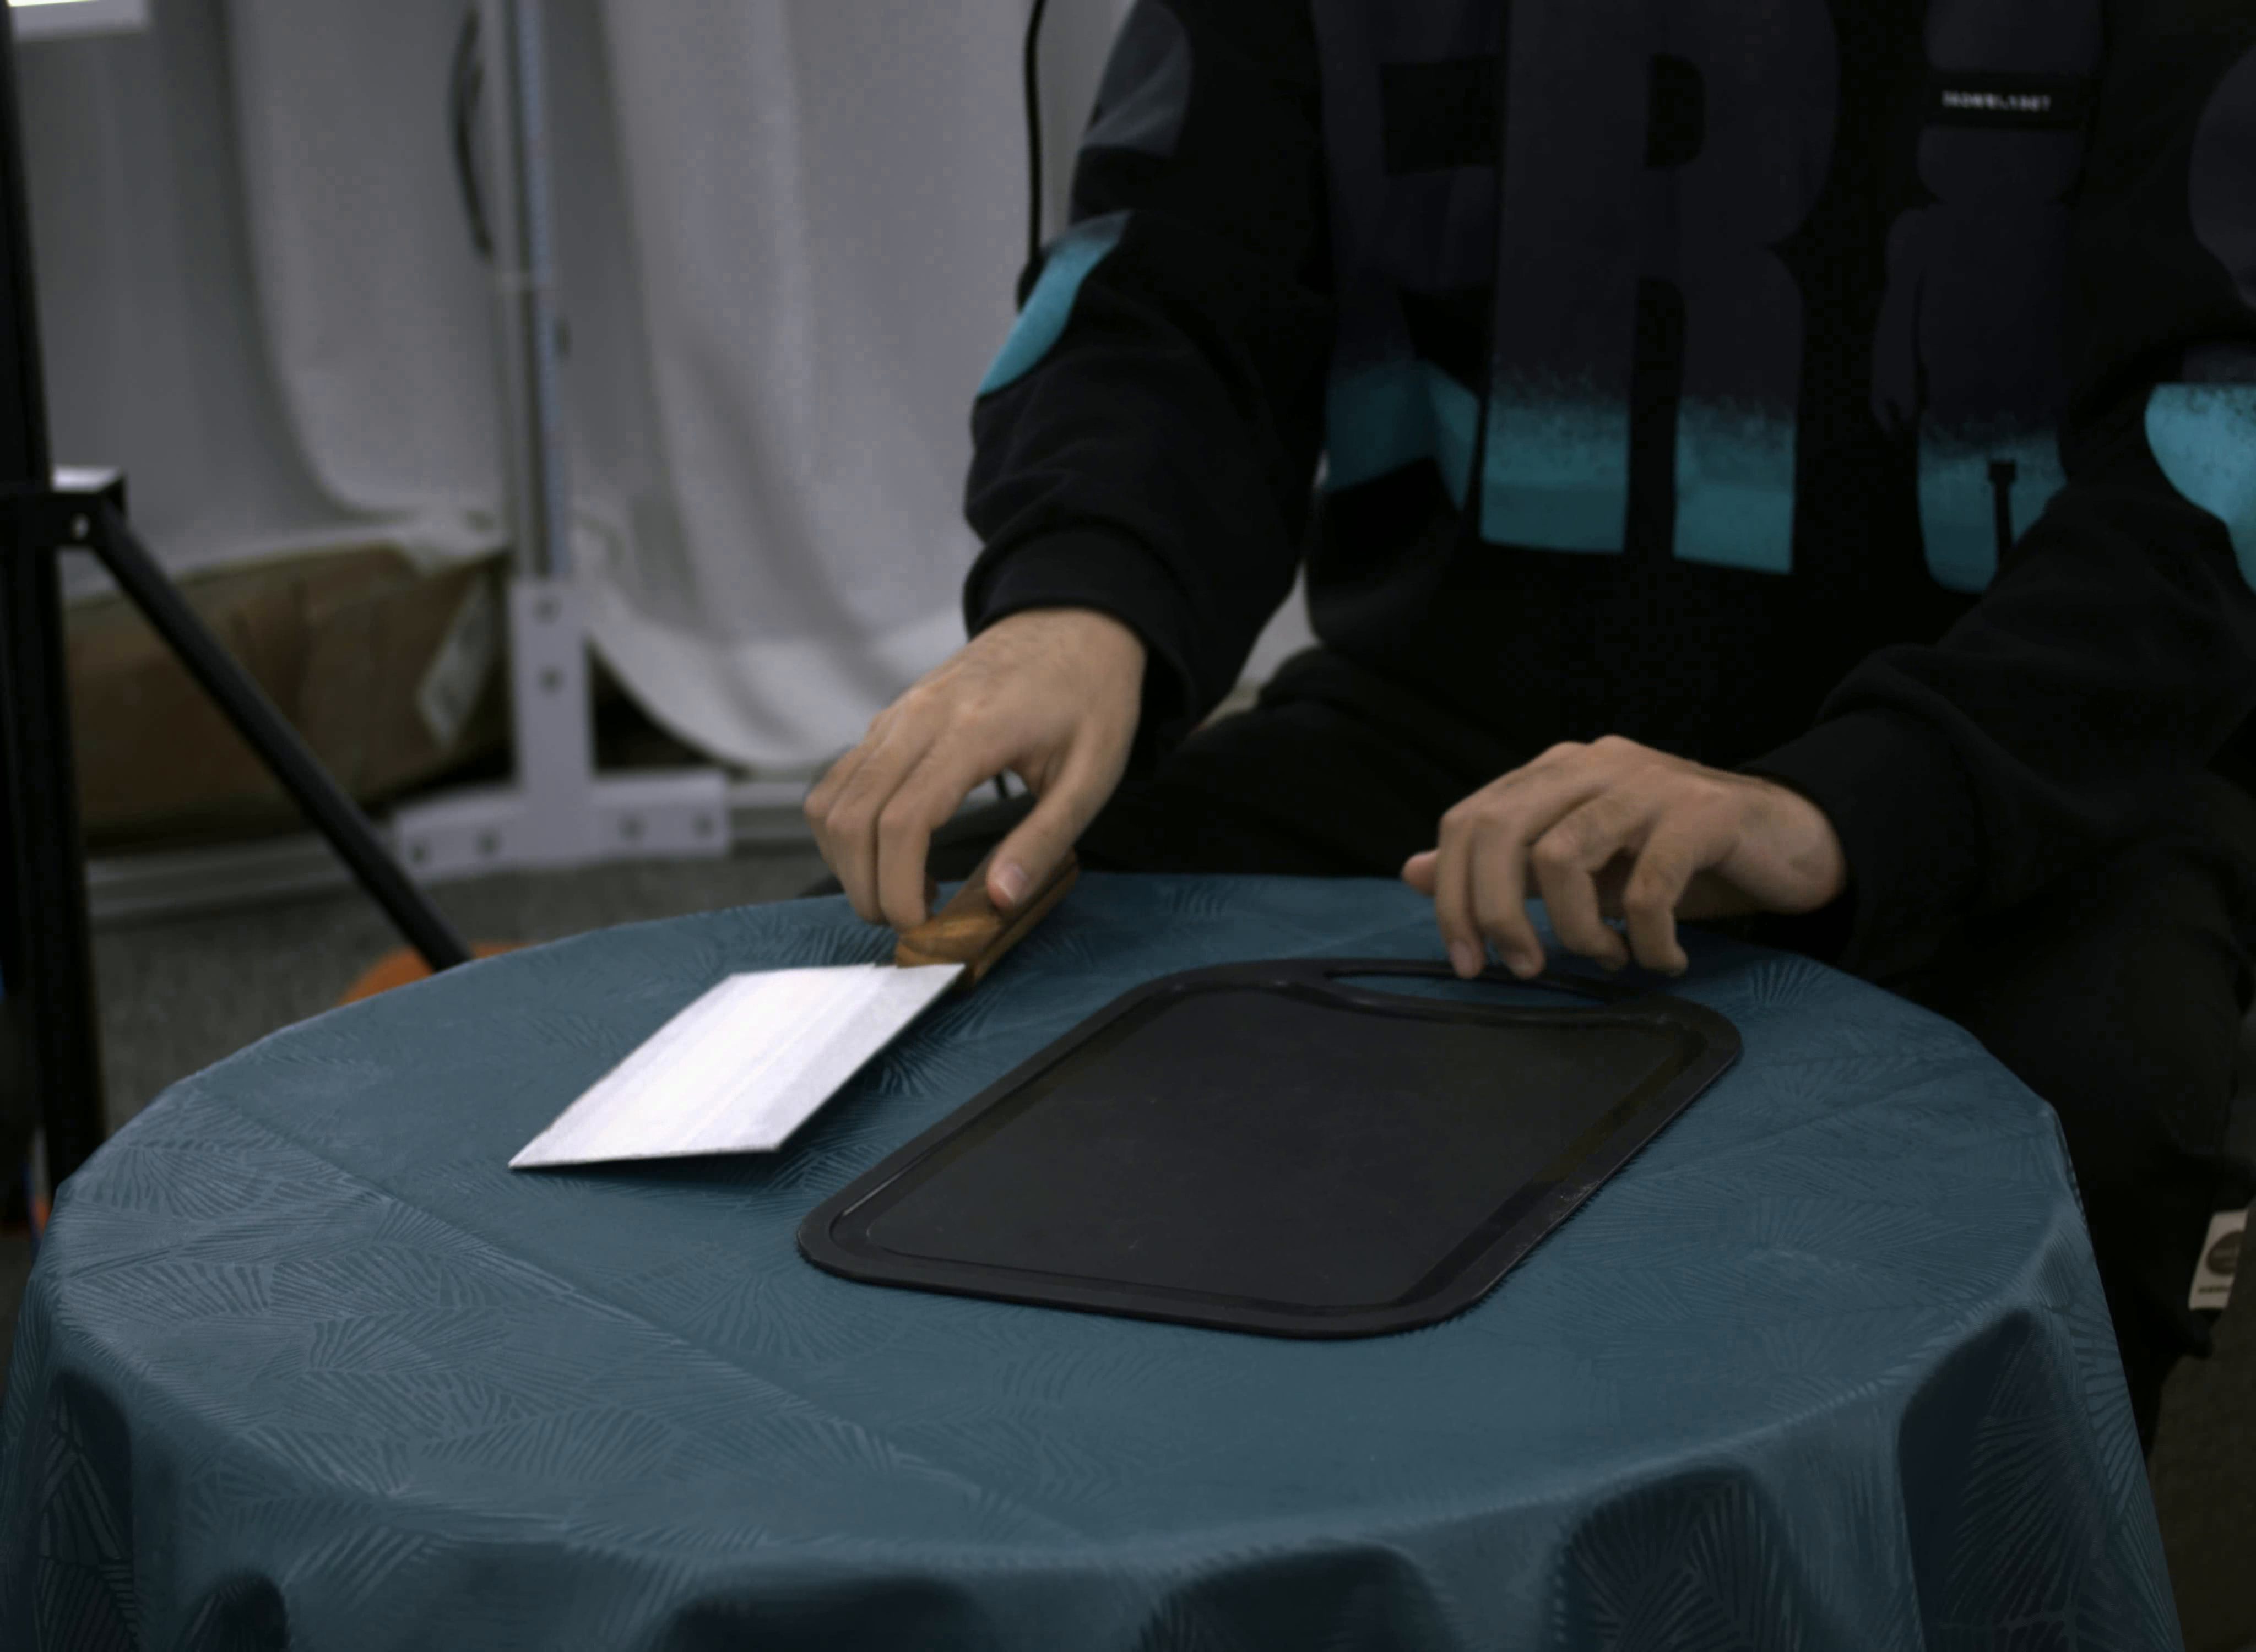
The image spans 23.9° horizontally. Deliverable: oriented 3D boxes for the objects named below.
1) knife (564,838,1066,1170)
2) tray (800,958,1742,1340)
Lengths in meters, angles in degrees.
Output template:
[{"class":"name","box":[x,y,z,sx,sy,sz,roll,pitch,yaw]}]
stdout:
[{"class":"knife","box":[-0.100,0.057,1.724,0.094,0.021,0.303,-3,16,19]},{"class":"tray","box":[0.052,0.088,1.604,0.214,0.010,0.320,5,18,26]}]
